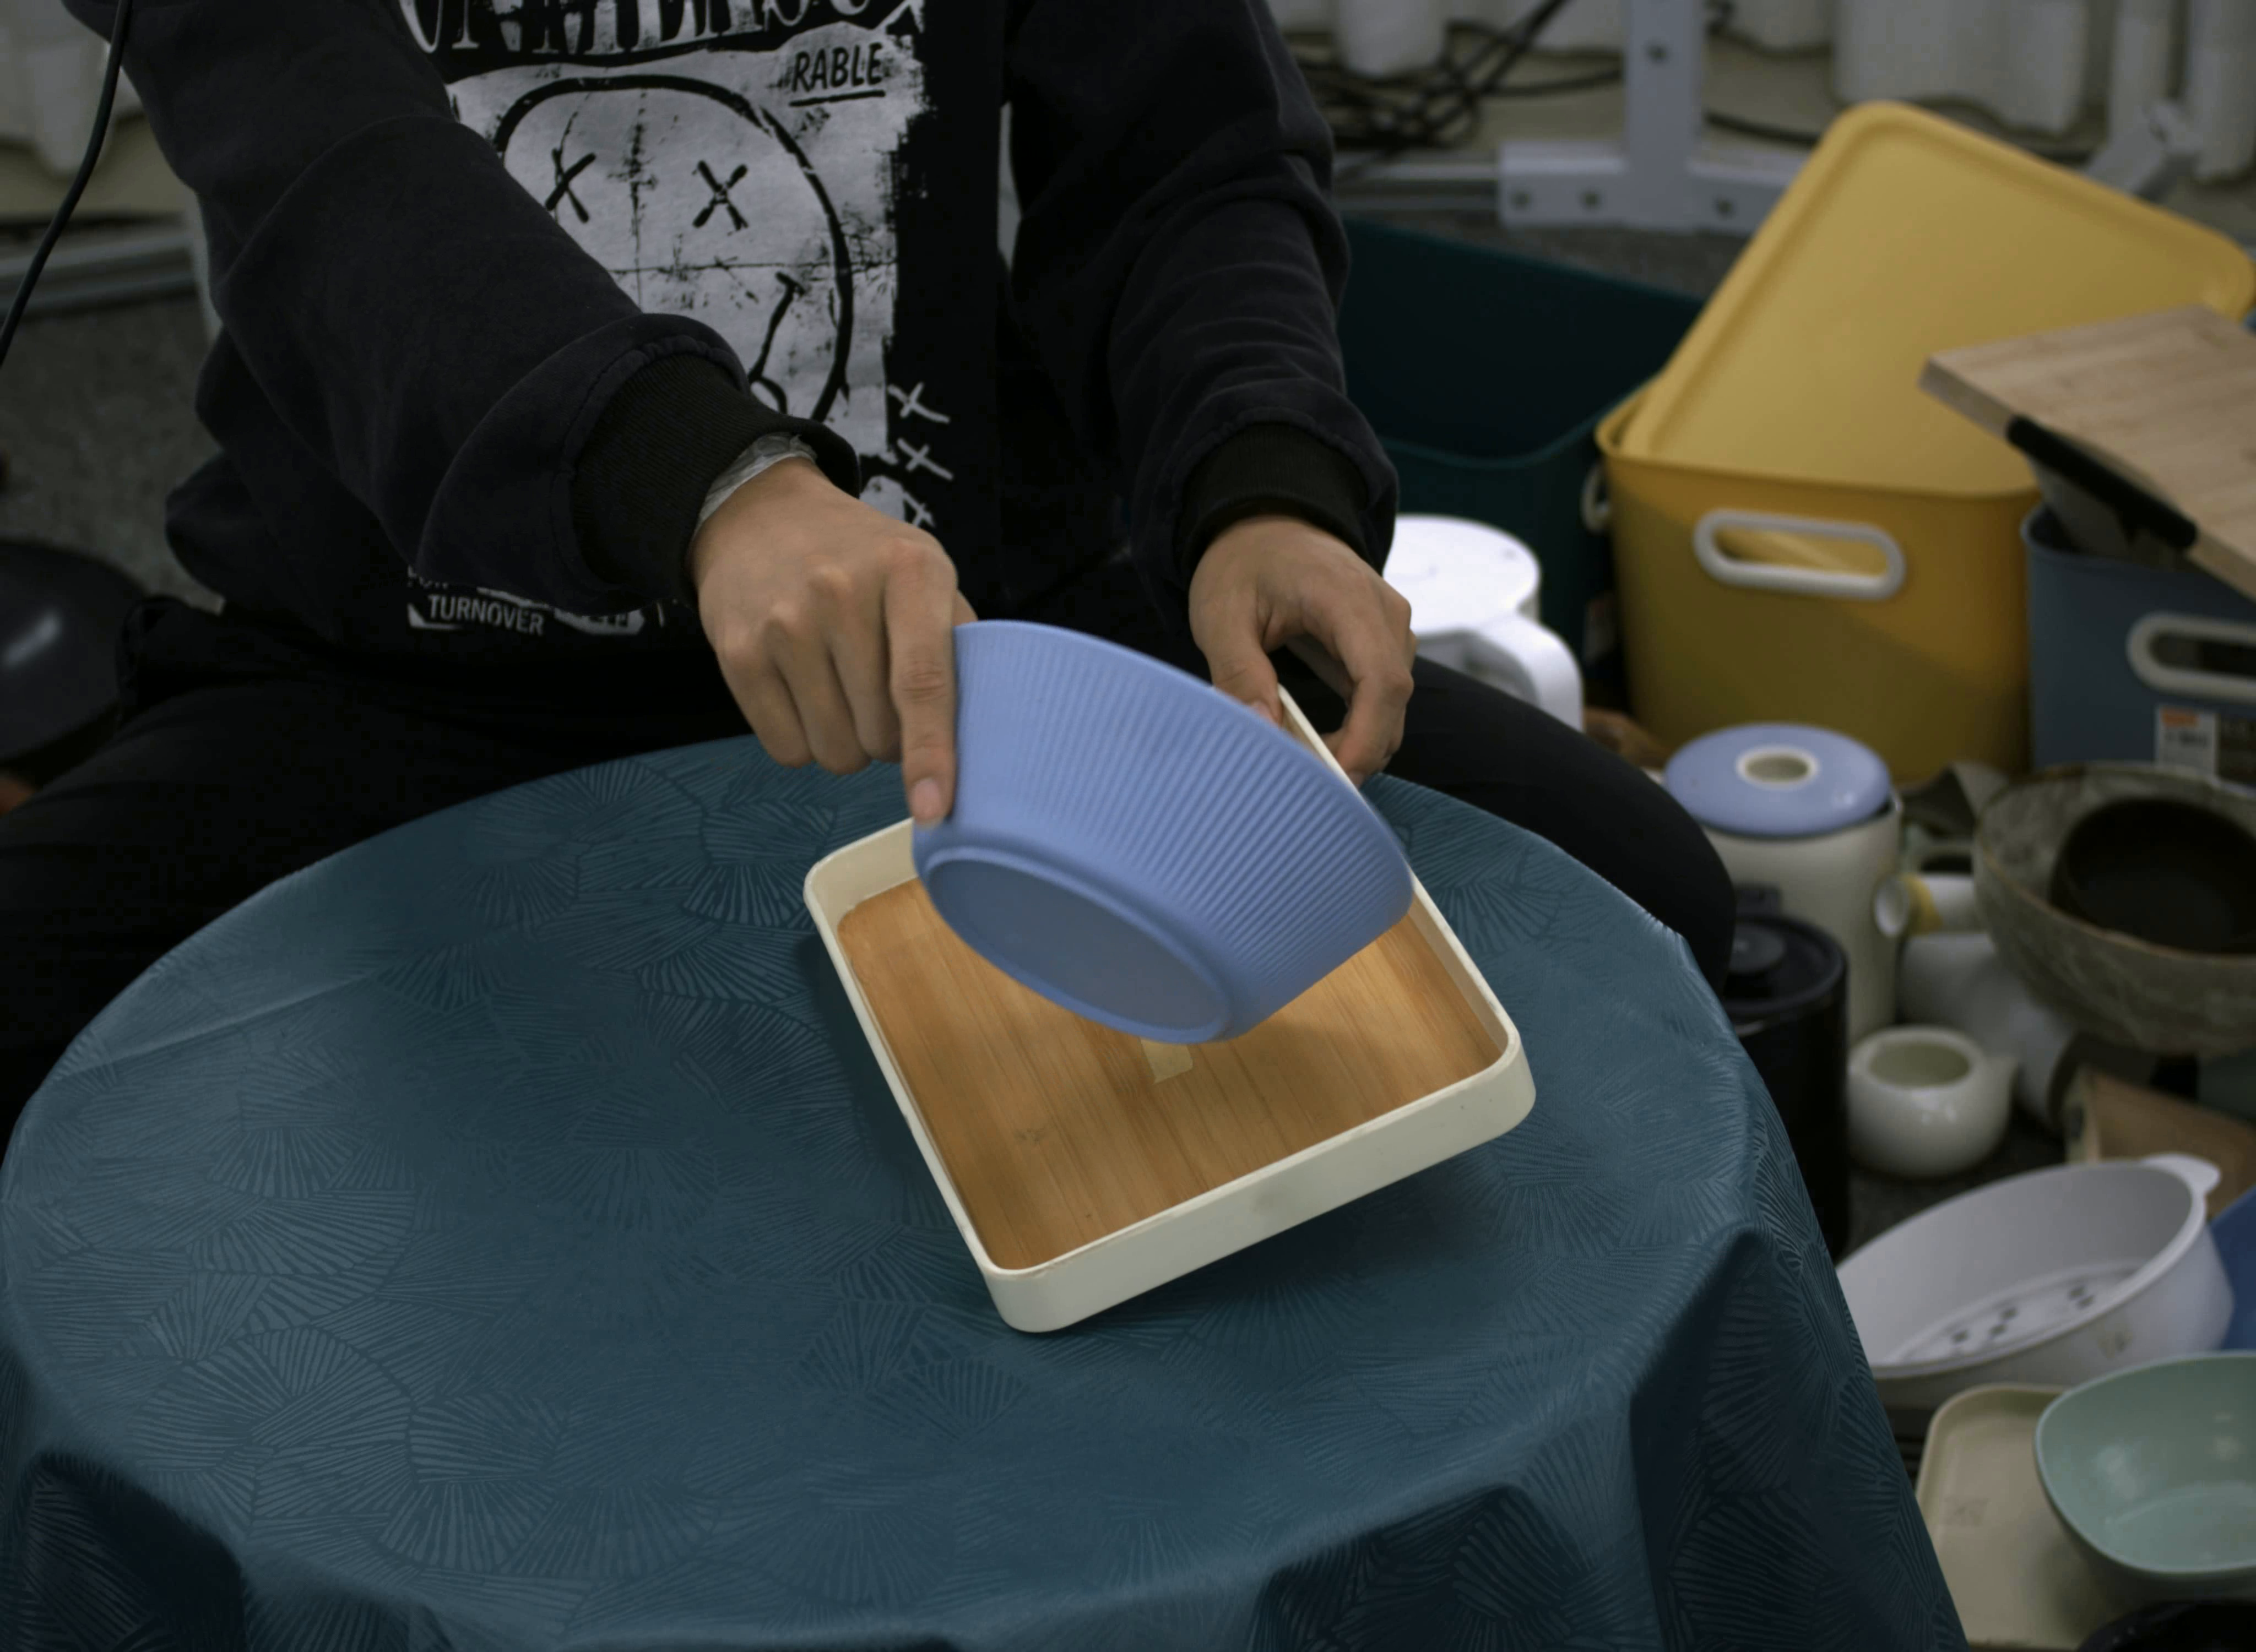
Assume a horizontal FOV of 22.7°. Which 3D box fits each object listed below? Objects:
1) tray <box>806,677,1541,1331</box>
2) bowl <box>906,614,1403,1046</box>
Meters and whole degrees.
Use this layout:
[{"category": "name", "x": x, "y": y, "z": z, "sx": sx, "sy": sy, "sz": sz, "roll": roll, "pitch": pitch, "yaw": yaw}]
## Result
[{"category": "tray", "x": 0.009, "y": 0.055, "z": 1.912, "sx": 0.191, "sy": 0.027, "sz": 0.303, "roll": -23, "pitch": 30, "yaw": -5}, {"category": "bowl", "x": -0.005, "y": 0.011, "z": 1.793, "sx": 0.175, "sy": 0.174, "sz": 0.071, "roll": 16, "pitch": 65, "yaw": 32}]
